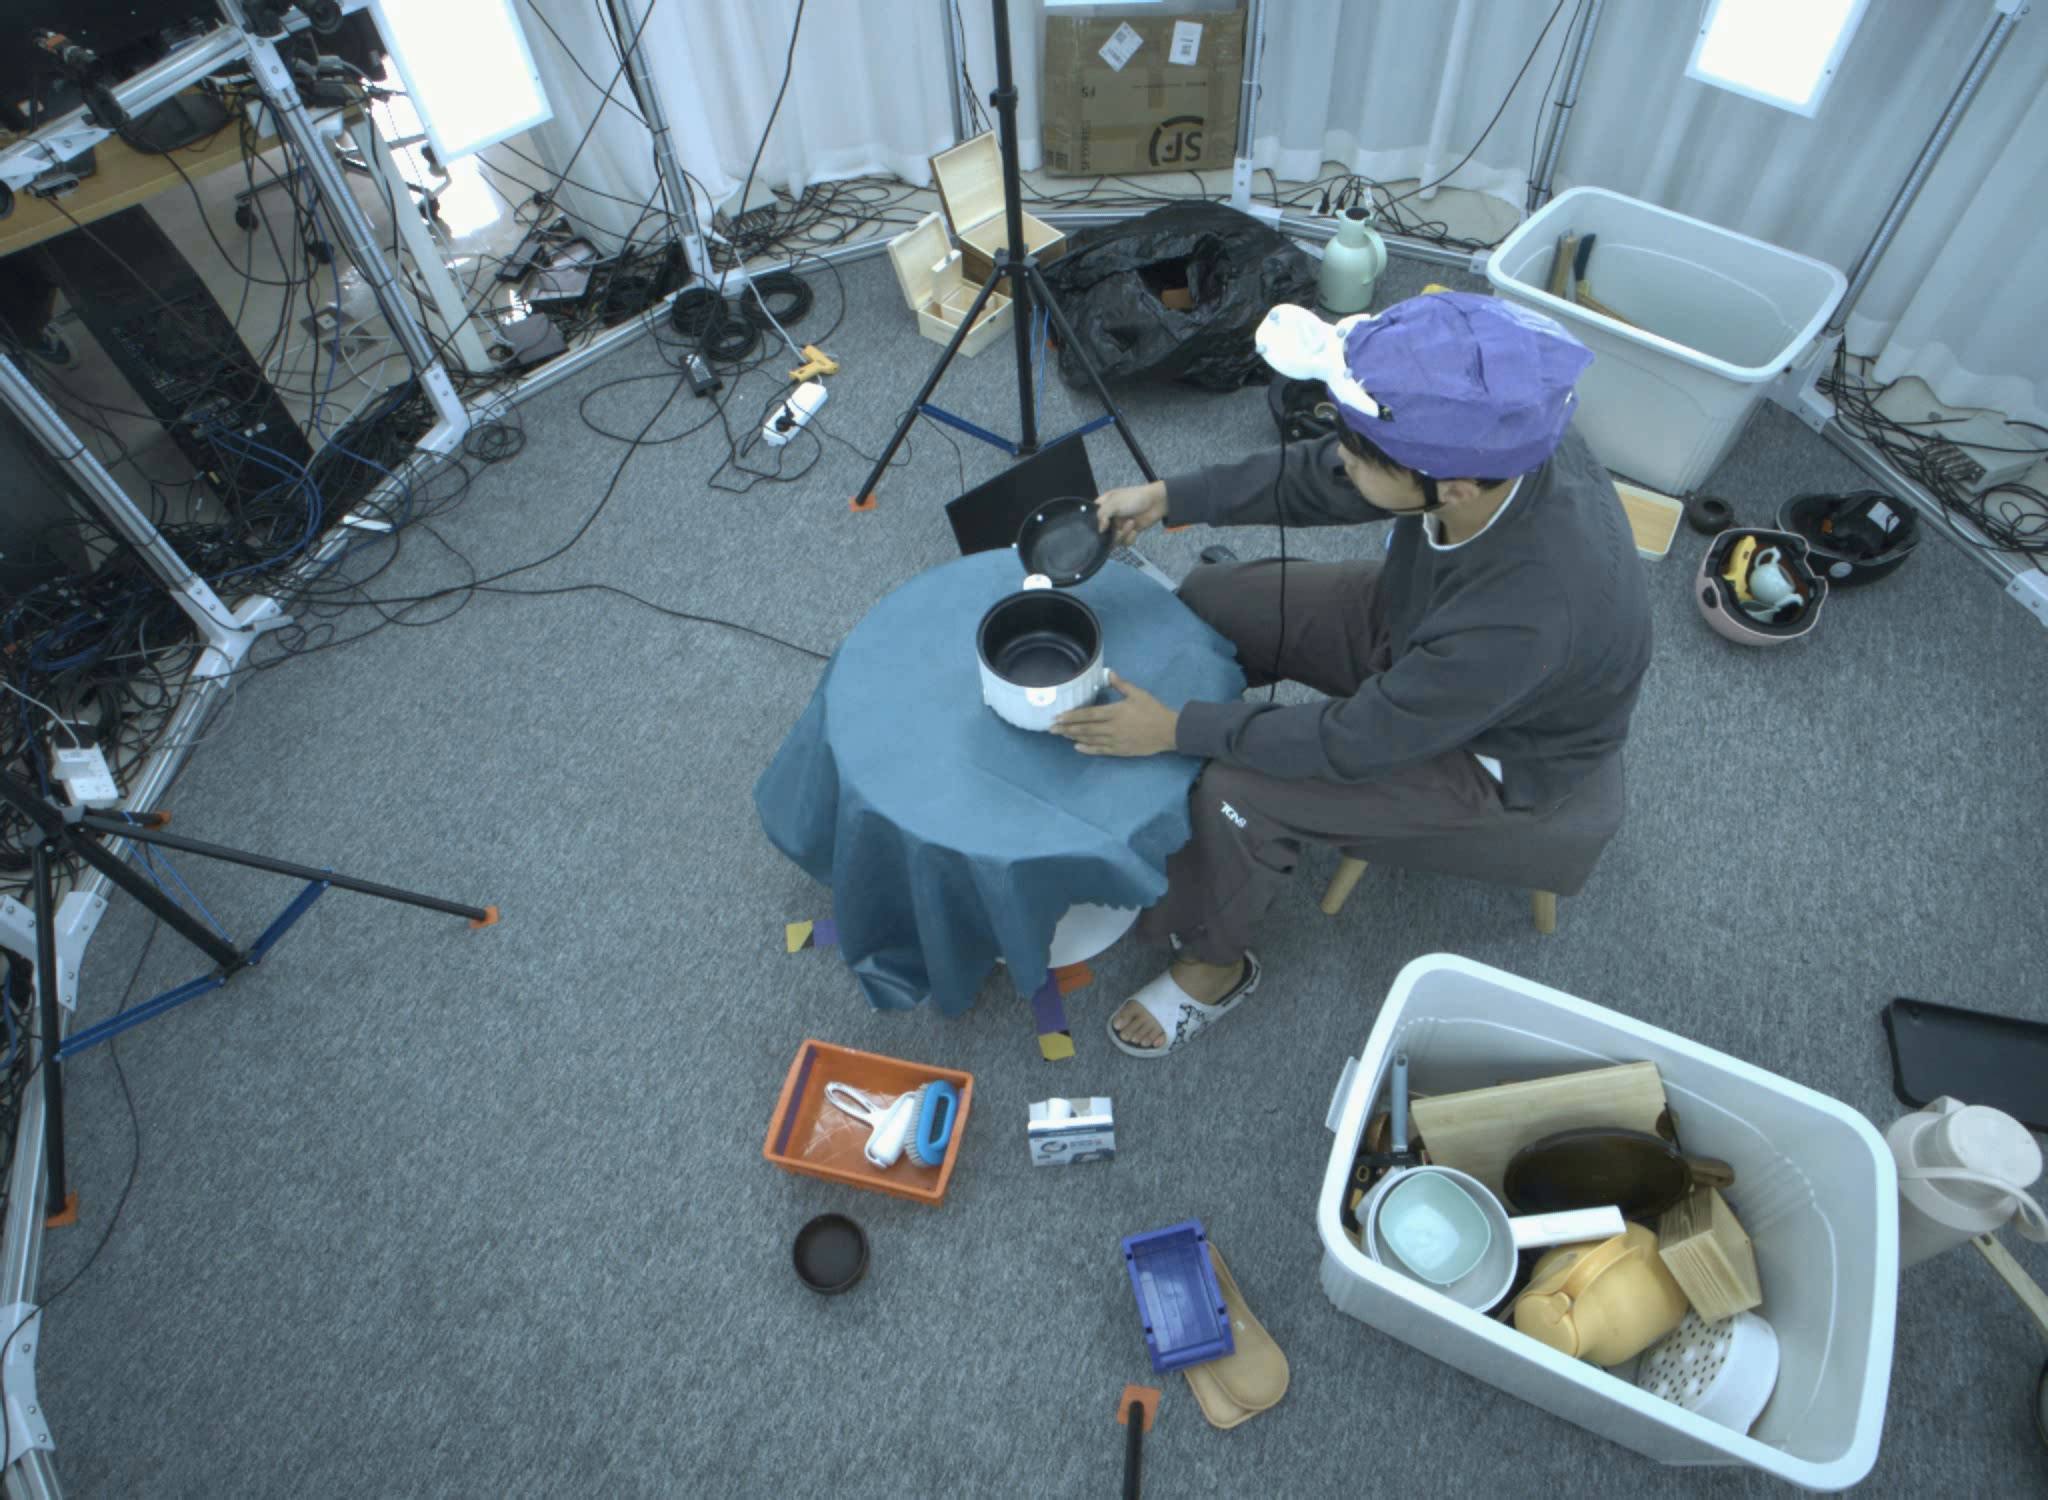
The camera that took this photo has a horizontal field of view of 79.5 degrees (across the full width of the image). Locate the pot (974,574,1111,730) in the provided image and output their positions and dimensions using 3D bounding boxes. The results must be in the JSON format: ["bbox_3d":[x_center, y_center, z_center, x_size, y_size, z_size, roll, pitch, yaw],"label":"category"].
[{"bbox_3d":[0.029,-0.127,1.790,0.190,0.144,0.237,-5,57,2],"label":"pot"}]

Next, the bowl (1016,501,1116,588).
[{"bbox_3d":[0.063,-0.304,1.861,0.136,0.067,0.171,35,67,12],"label":"bowl"}]
